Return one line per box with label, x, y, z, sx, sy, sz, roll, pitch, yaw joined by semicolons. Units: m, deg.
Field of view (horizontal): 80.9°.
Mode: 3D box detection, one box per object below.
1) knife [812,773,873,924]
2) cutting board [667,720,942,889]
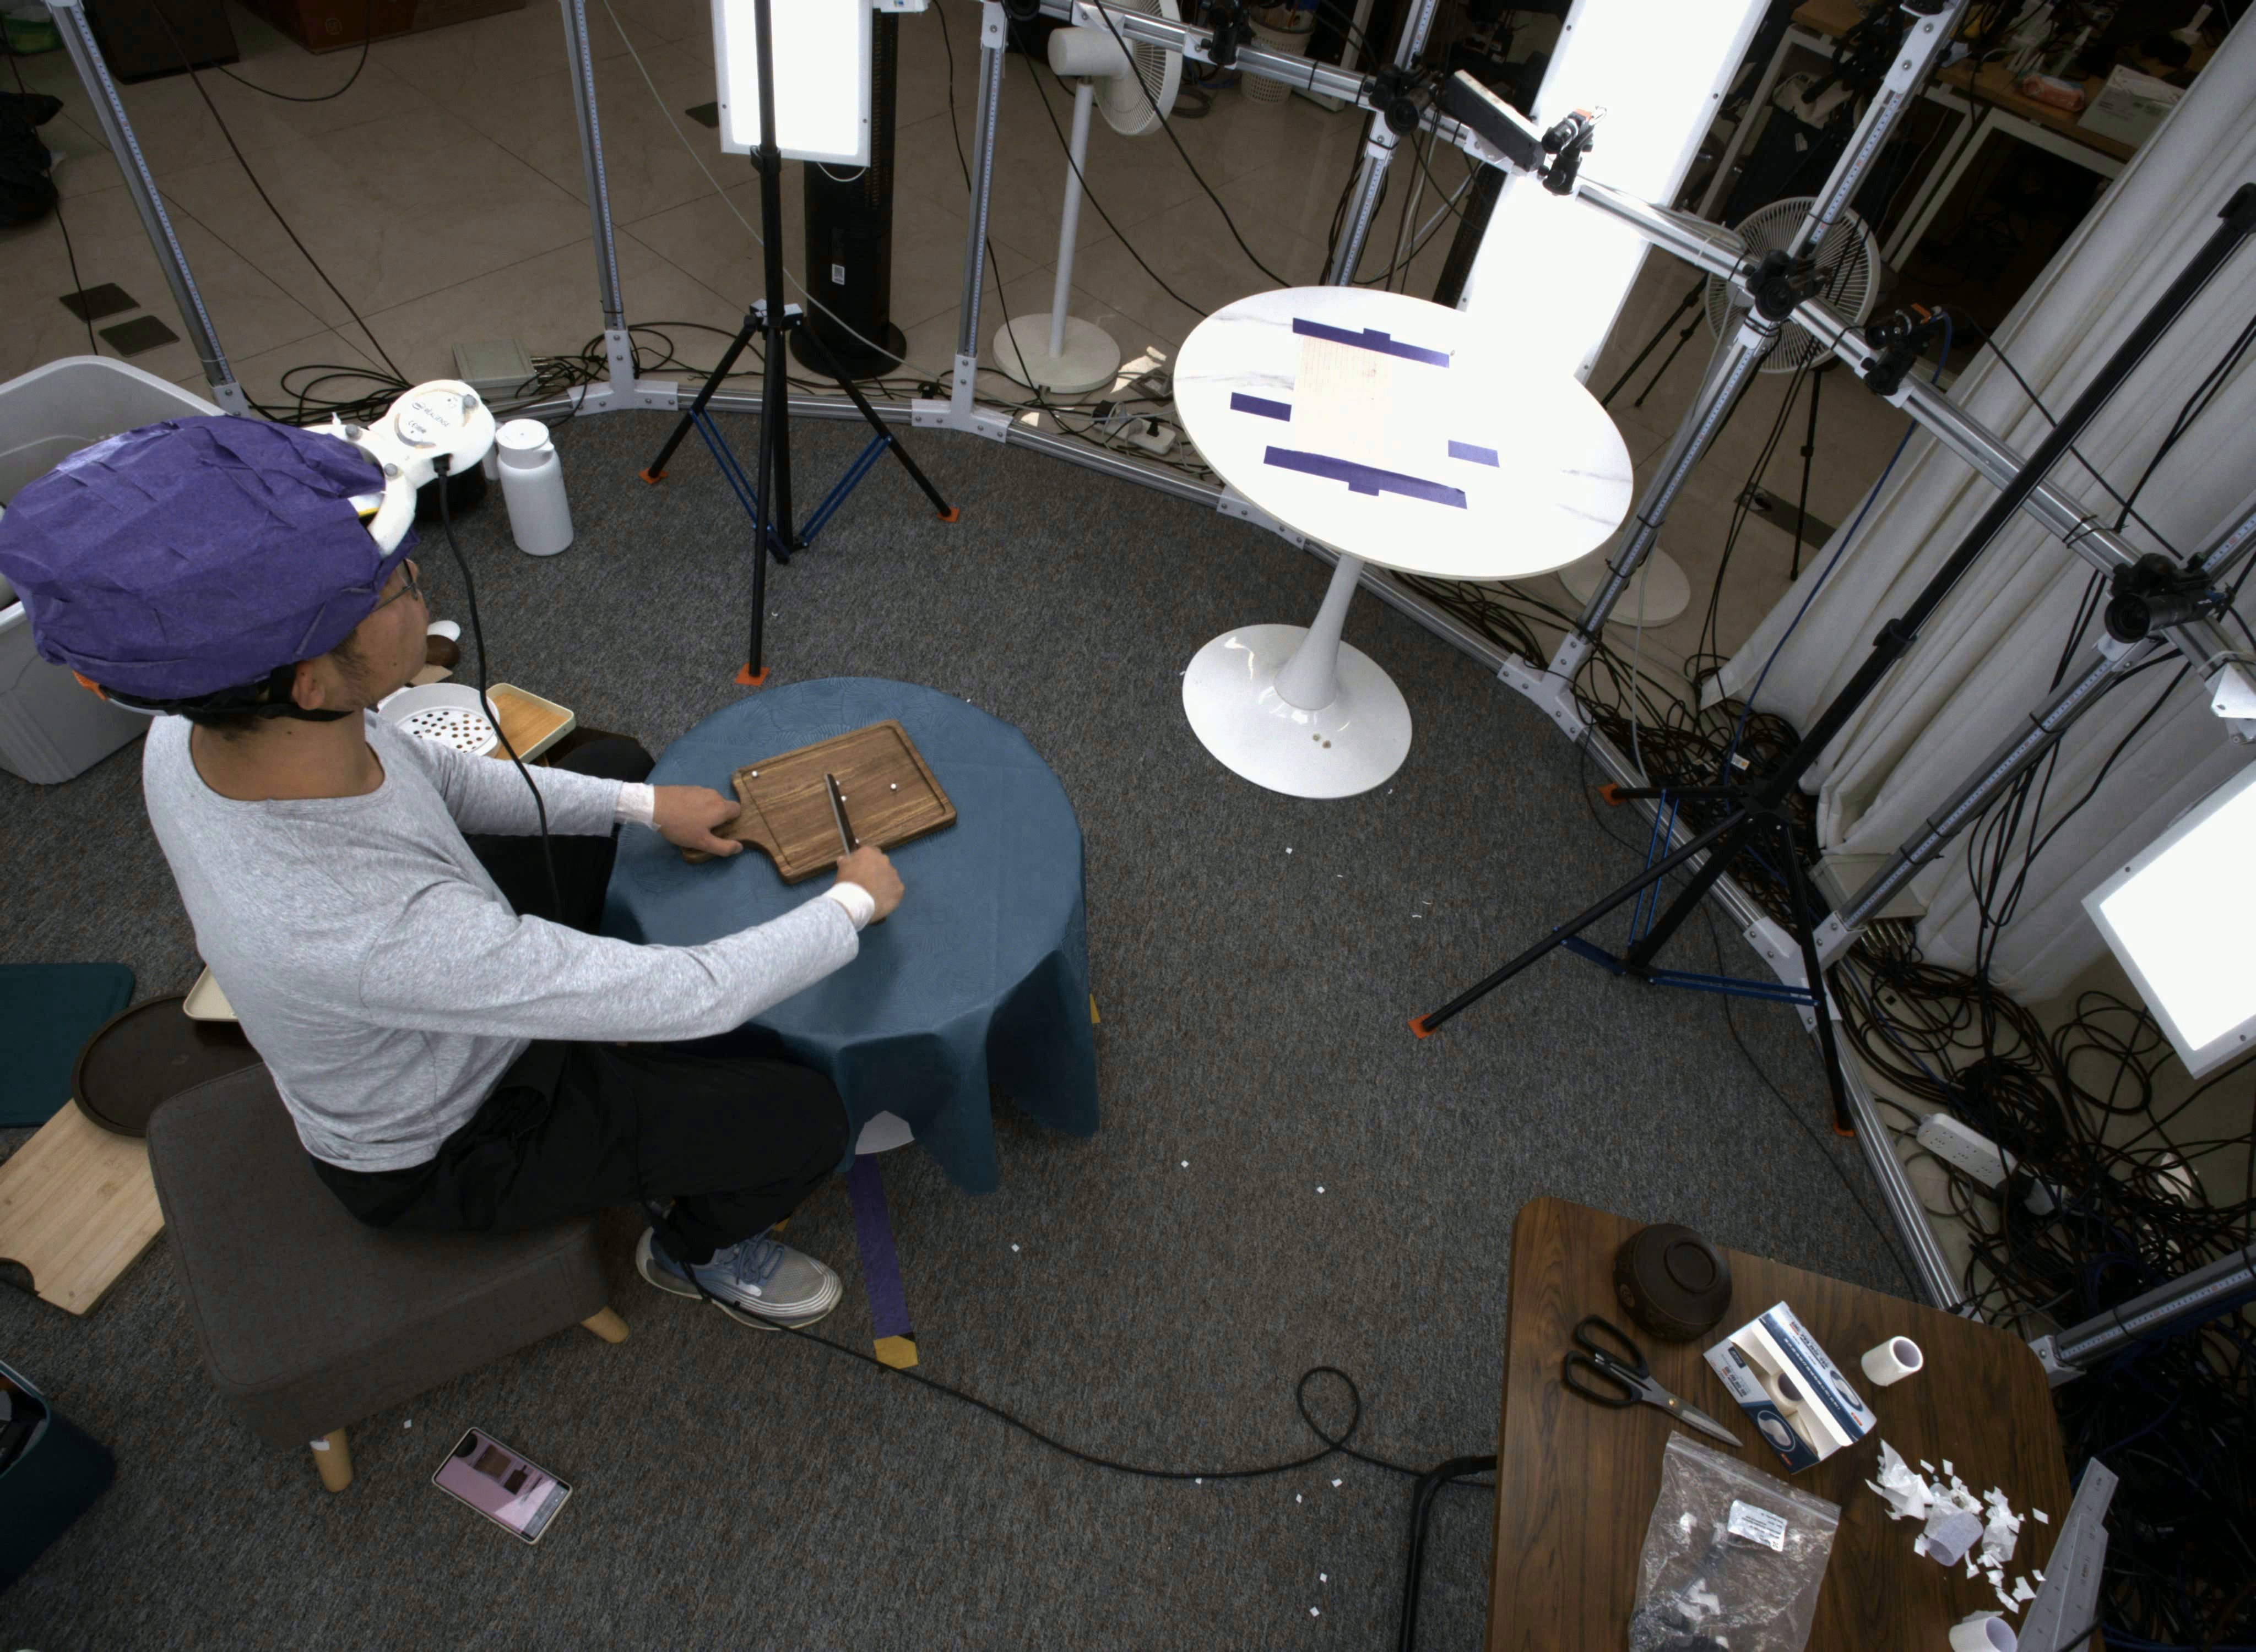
knife;-0.373;0.022;1.666;0.020;0.051;0.280;-5;43;-28
cutting board;-0.446;-0.020;1.731;0.354;0.023;0.196;-23;62;-28
